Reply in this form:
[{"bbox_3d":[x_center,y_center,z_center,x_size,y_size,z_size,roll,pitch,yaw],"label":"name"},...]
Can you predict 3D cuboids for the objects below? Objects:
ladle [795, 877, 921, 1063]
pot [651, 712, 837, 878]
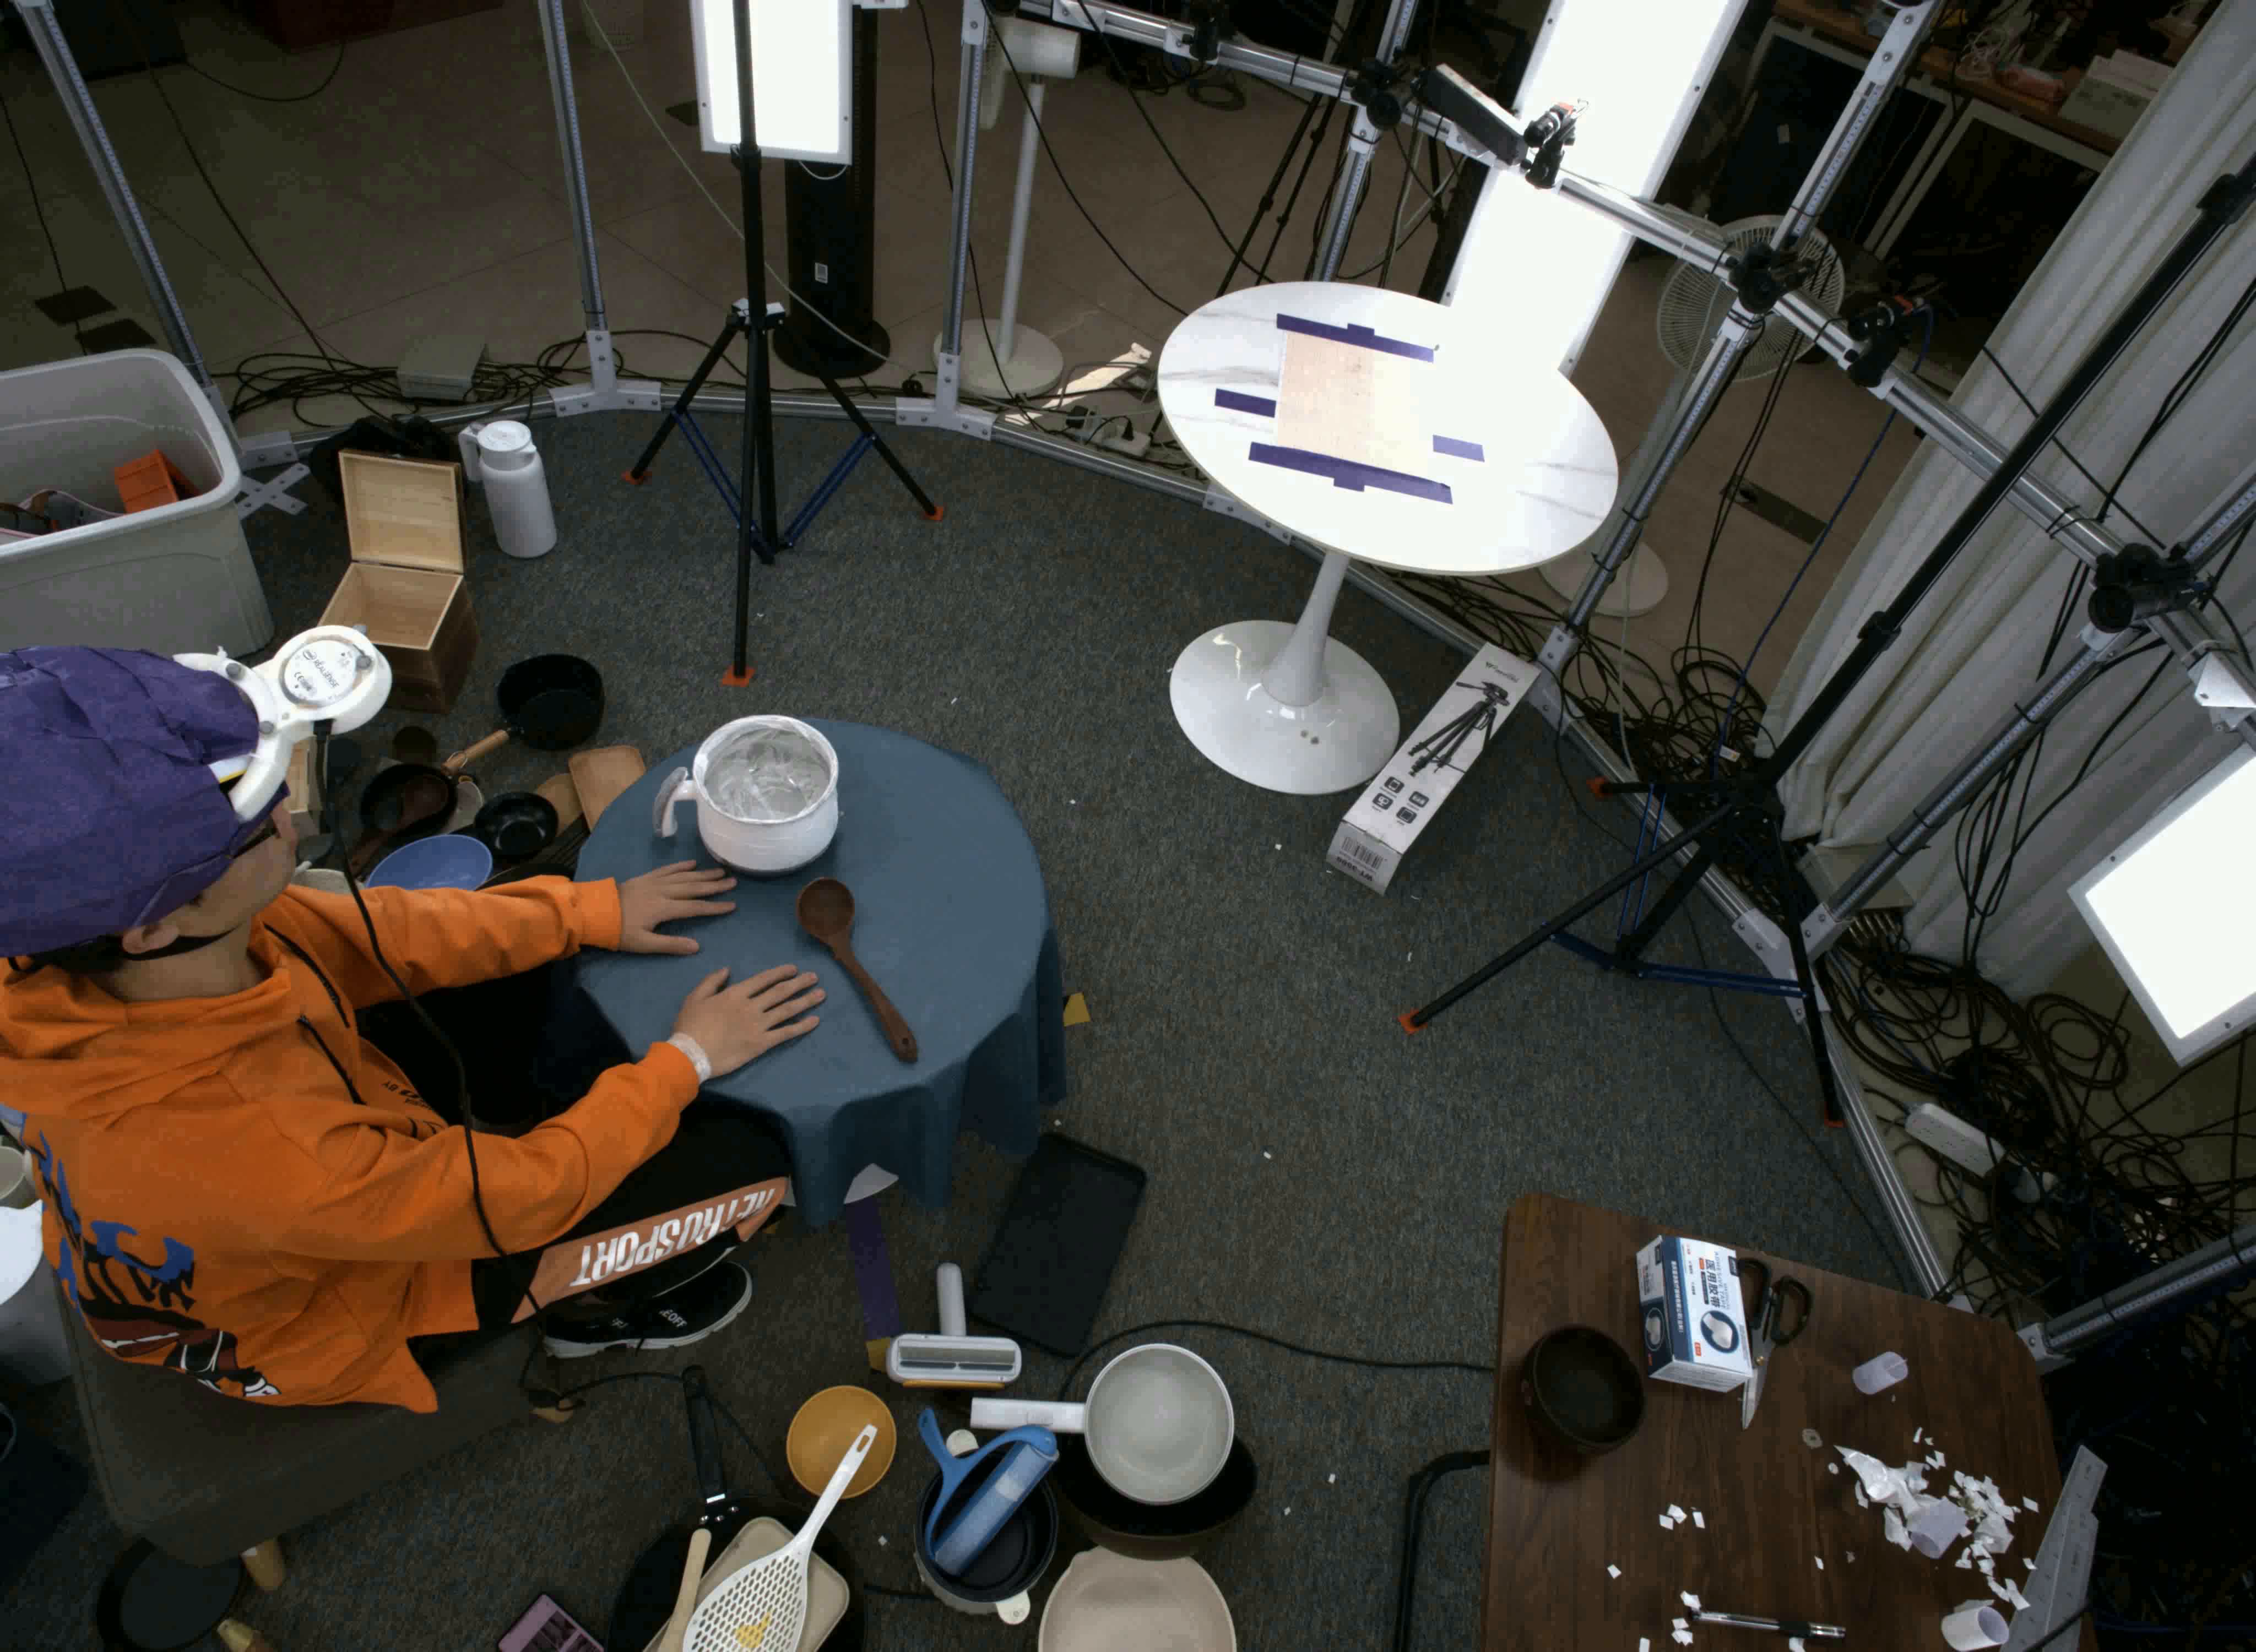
[{"bbox_3d":[-0.322,0.170,1.573,0.077,0.066,0.254,-26,64,-26],"label":"ladle"},{"bbox_3d":[-0.486,-0.033,1.633,0.234,0.139,0.174,-5,54,-18],"label":"pot"}]
